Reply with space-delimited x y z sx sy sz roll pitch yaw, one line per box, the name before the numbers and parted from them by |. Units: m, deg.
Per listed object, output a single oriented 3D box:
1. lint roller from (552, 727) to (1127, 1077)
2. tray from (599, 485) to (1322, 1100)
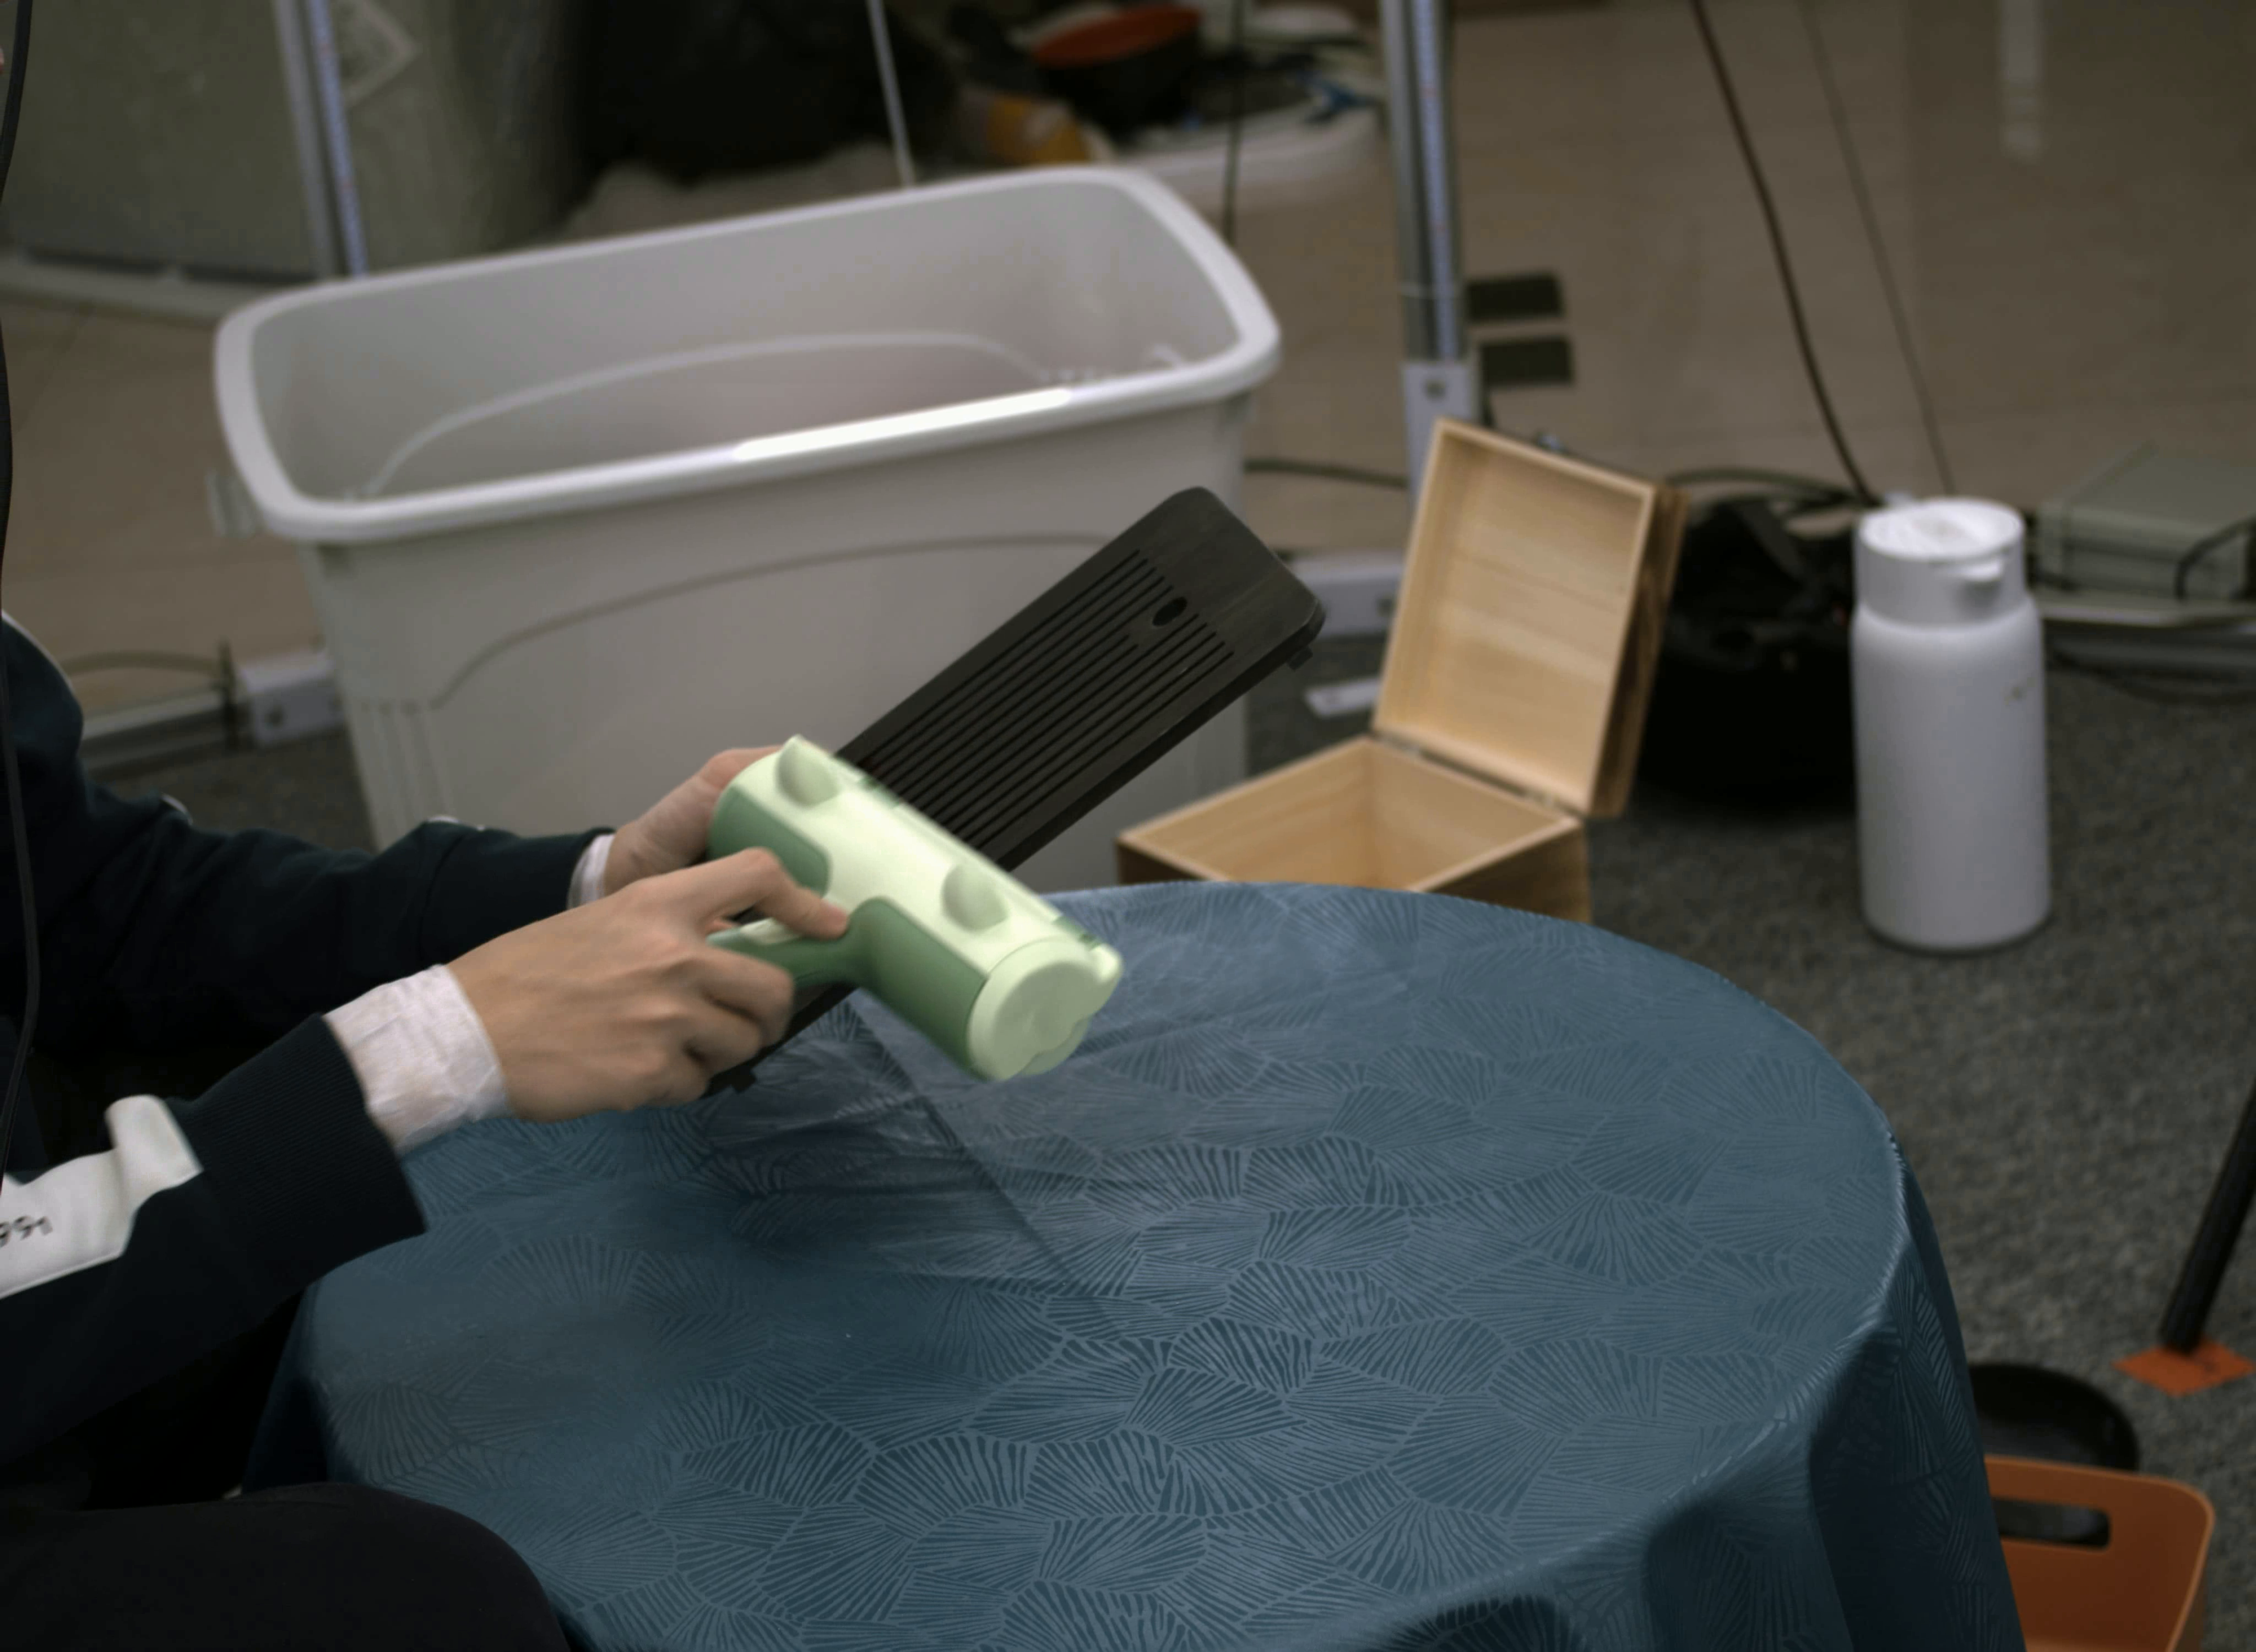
lint roller | -0.126 0.032 2.051 0.182 0.083 0.196 -13 31 -31
tray | -0.067 -0.014 2.196 0.306 0.019 0.168 -38 27 0
